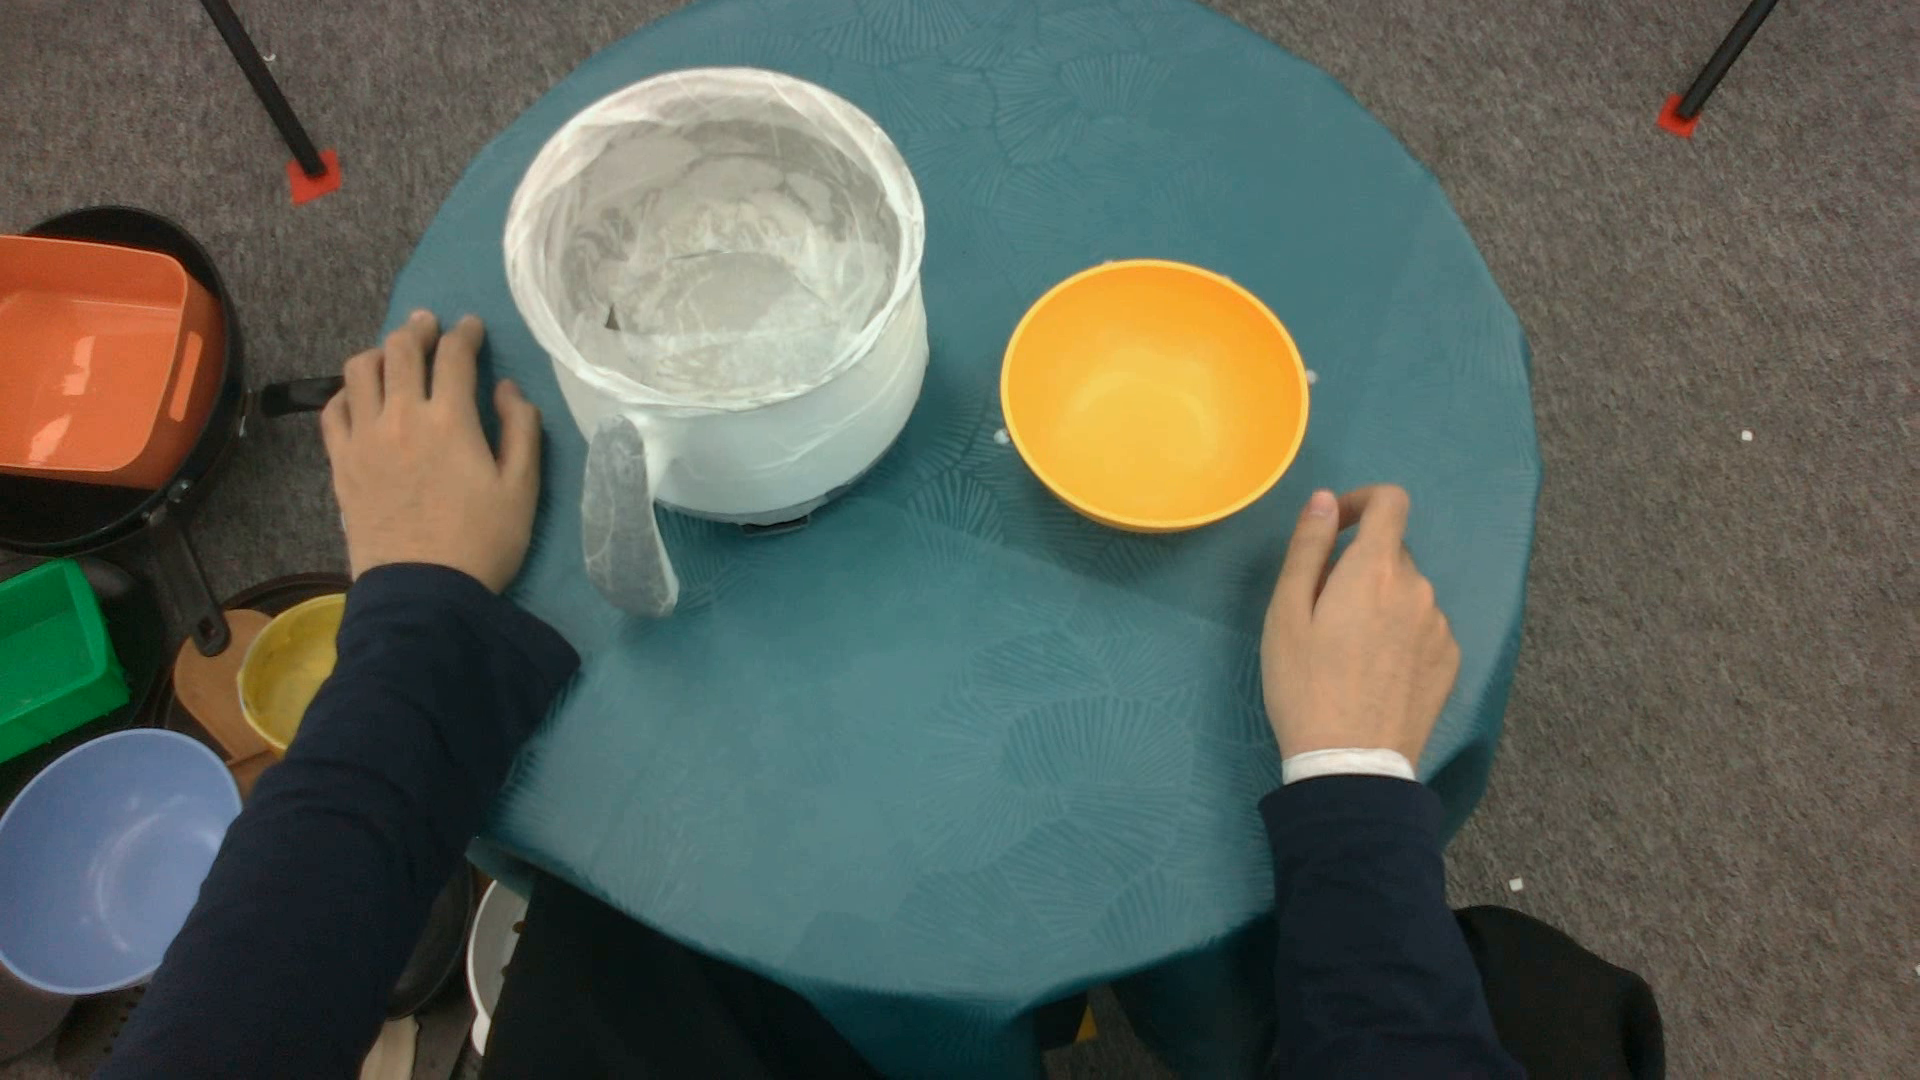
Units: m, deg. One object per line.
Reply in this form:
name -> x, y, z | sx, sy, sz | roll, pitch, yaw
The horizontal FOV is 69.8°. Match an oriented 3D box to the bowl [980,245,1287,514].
bowl -> 0.081, -0.069, 0.674 | 0.145, 0.060, 0.146 | 0, 66, -1

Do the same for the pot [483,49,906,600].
pot -> -0.123, -0.092, 0.634 | 0.178, 0.136, 0.234 | 15, 66, 7
